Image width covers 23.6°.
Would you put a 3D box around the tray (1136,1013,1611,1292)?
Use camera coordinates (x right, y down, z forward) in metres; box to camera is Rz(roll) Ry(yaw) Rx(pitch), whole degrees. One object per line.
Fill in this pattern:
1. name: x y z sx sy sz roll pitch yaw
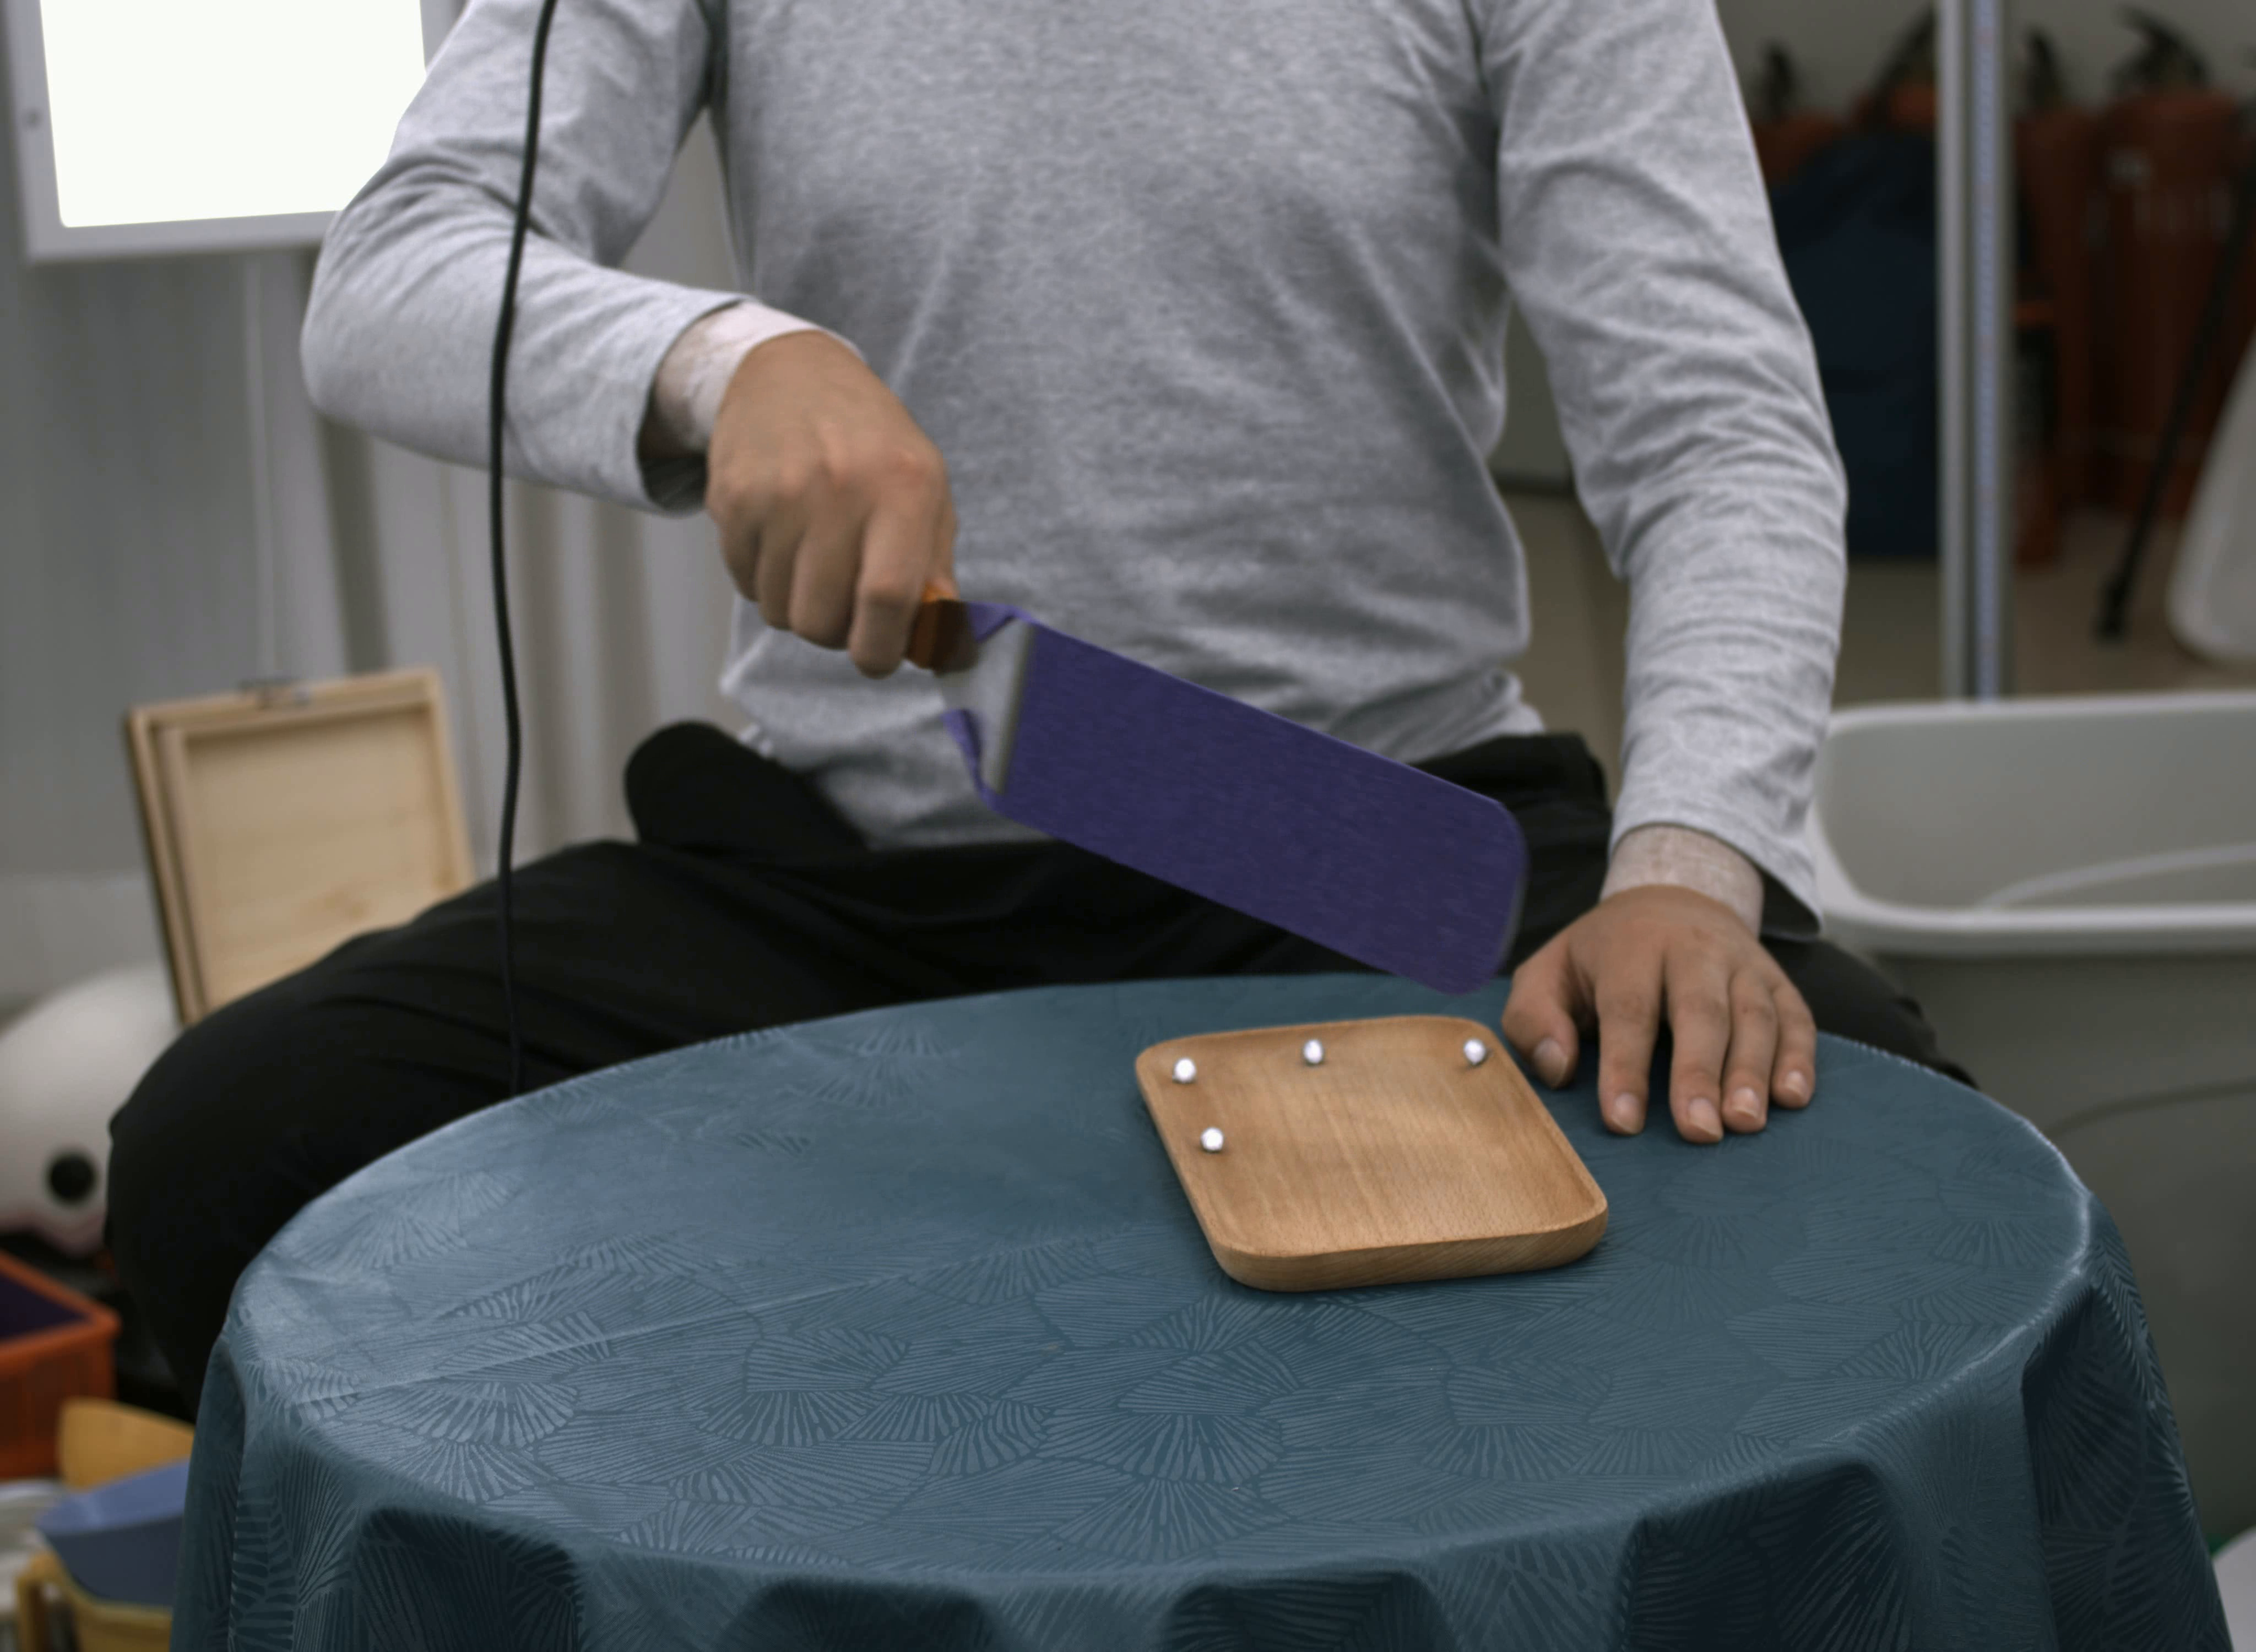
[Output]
1. tray: 0.078 0.105 1.779 0.128 0.023 0.252 -9 15 -4

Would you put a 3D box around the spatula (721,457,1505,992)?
1. spatula: -0.014 -0.046 1.847 0.085 0.076 0.363 -7 30 -35
